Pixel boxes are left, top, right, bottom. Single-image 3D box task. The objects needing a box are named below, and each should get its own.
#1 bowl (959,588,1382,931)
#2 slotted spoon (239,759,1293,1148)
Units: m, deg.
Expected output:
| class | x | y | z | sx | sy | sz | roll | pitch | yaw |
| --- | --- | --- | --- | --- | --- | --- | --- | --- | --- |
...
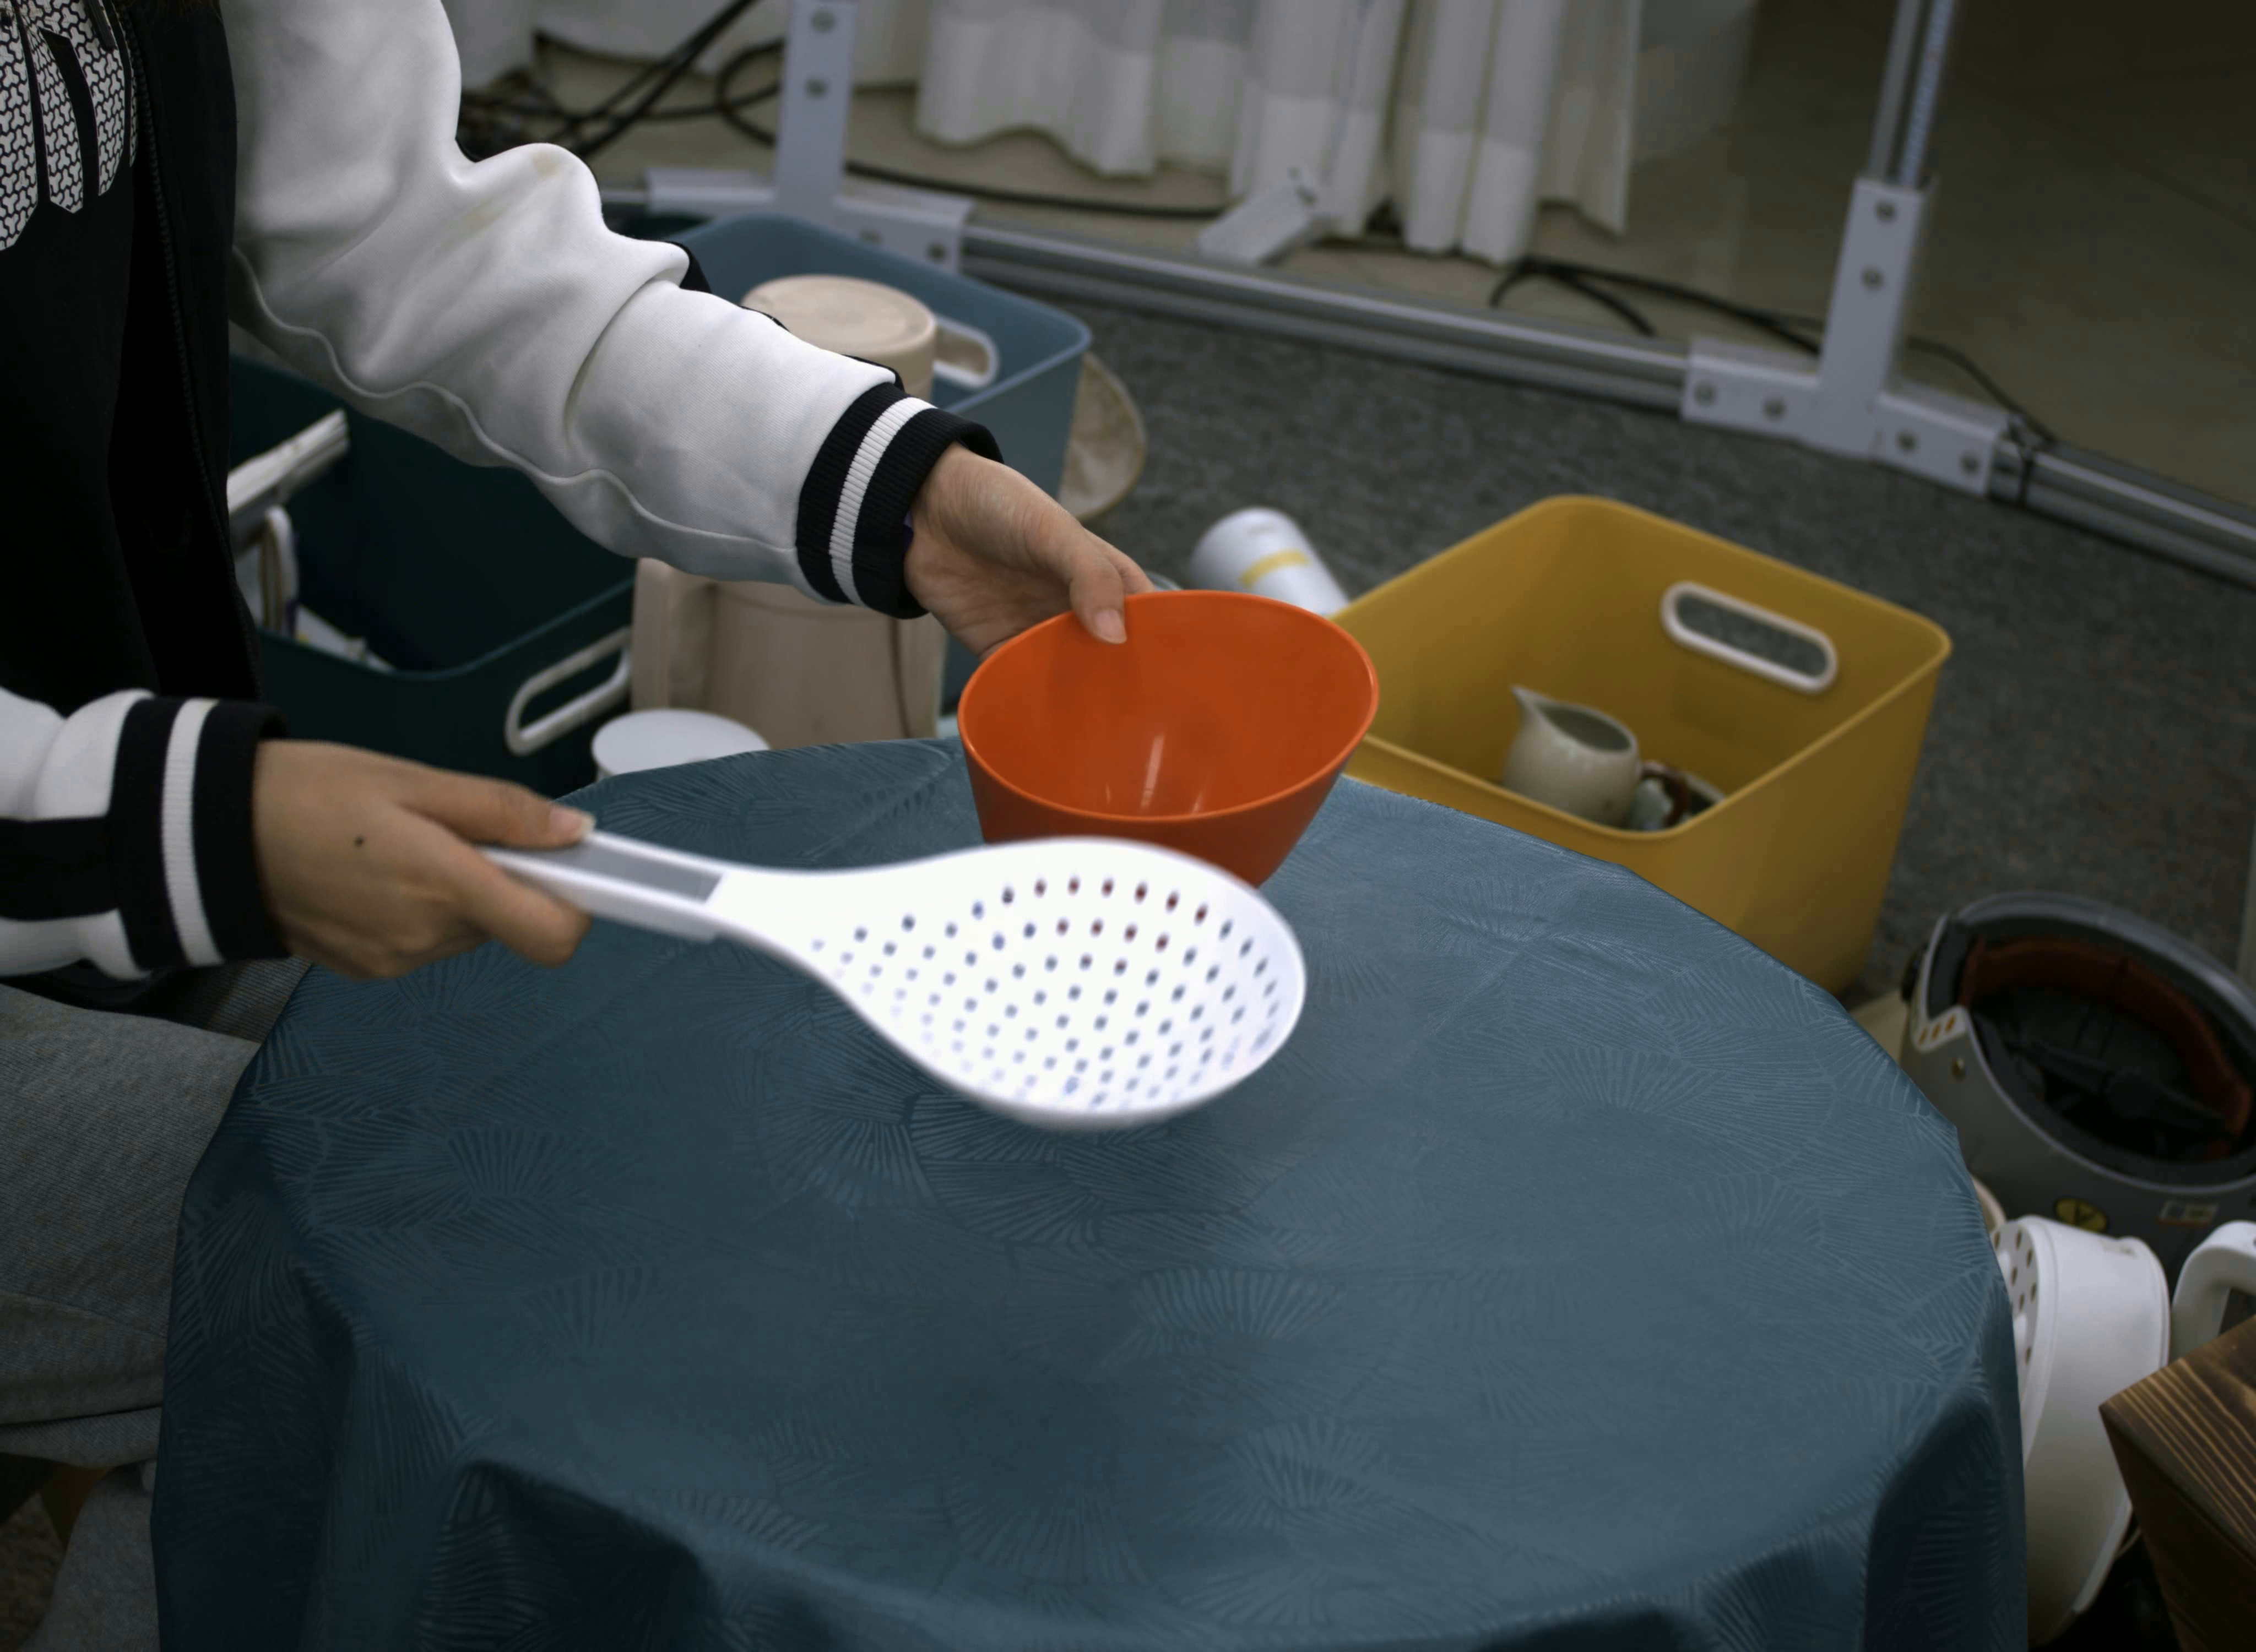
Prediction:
| class | x | y | z | sx | sy | sz | roll | pitch | yaw |
| --- | --- | --- | --- | --- | --- | --- | --- | --- | --- |
| bowl | 0.012 | -0.009 | 1.891 | 0.147 | 0.104 | 0.149 | 3 | 35 | -3 |
| slotted spoon | -0.119 | 0.031 | 1.678 | 0.350 | 0.045 | 0.136 | 18 | 38 | 11 |
